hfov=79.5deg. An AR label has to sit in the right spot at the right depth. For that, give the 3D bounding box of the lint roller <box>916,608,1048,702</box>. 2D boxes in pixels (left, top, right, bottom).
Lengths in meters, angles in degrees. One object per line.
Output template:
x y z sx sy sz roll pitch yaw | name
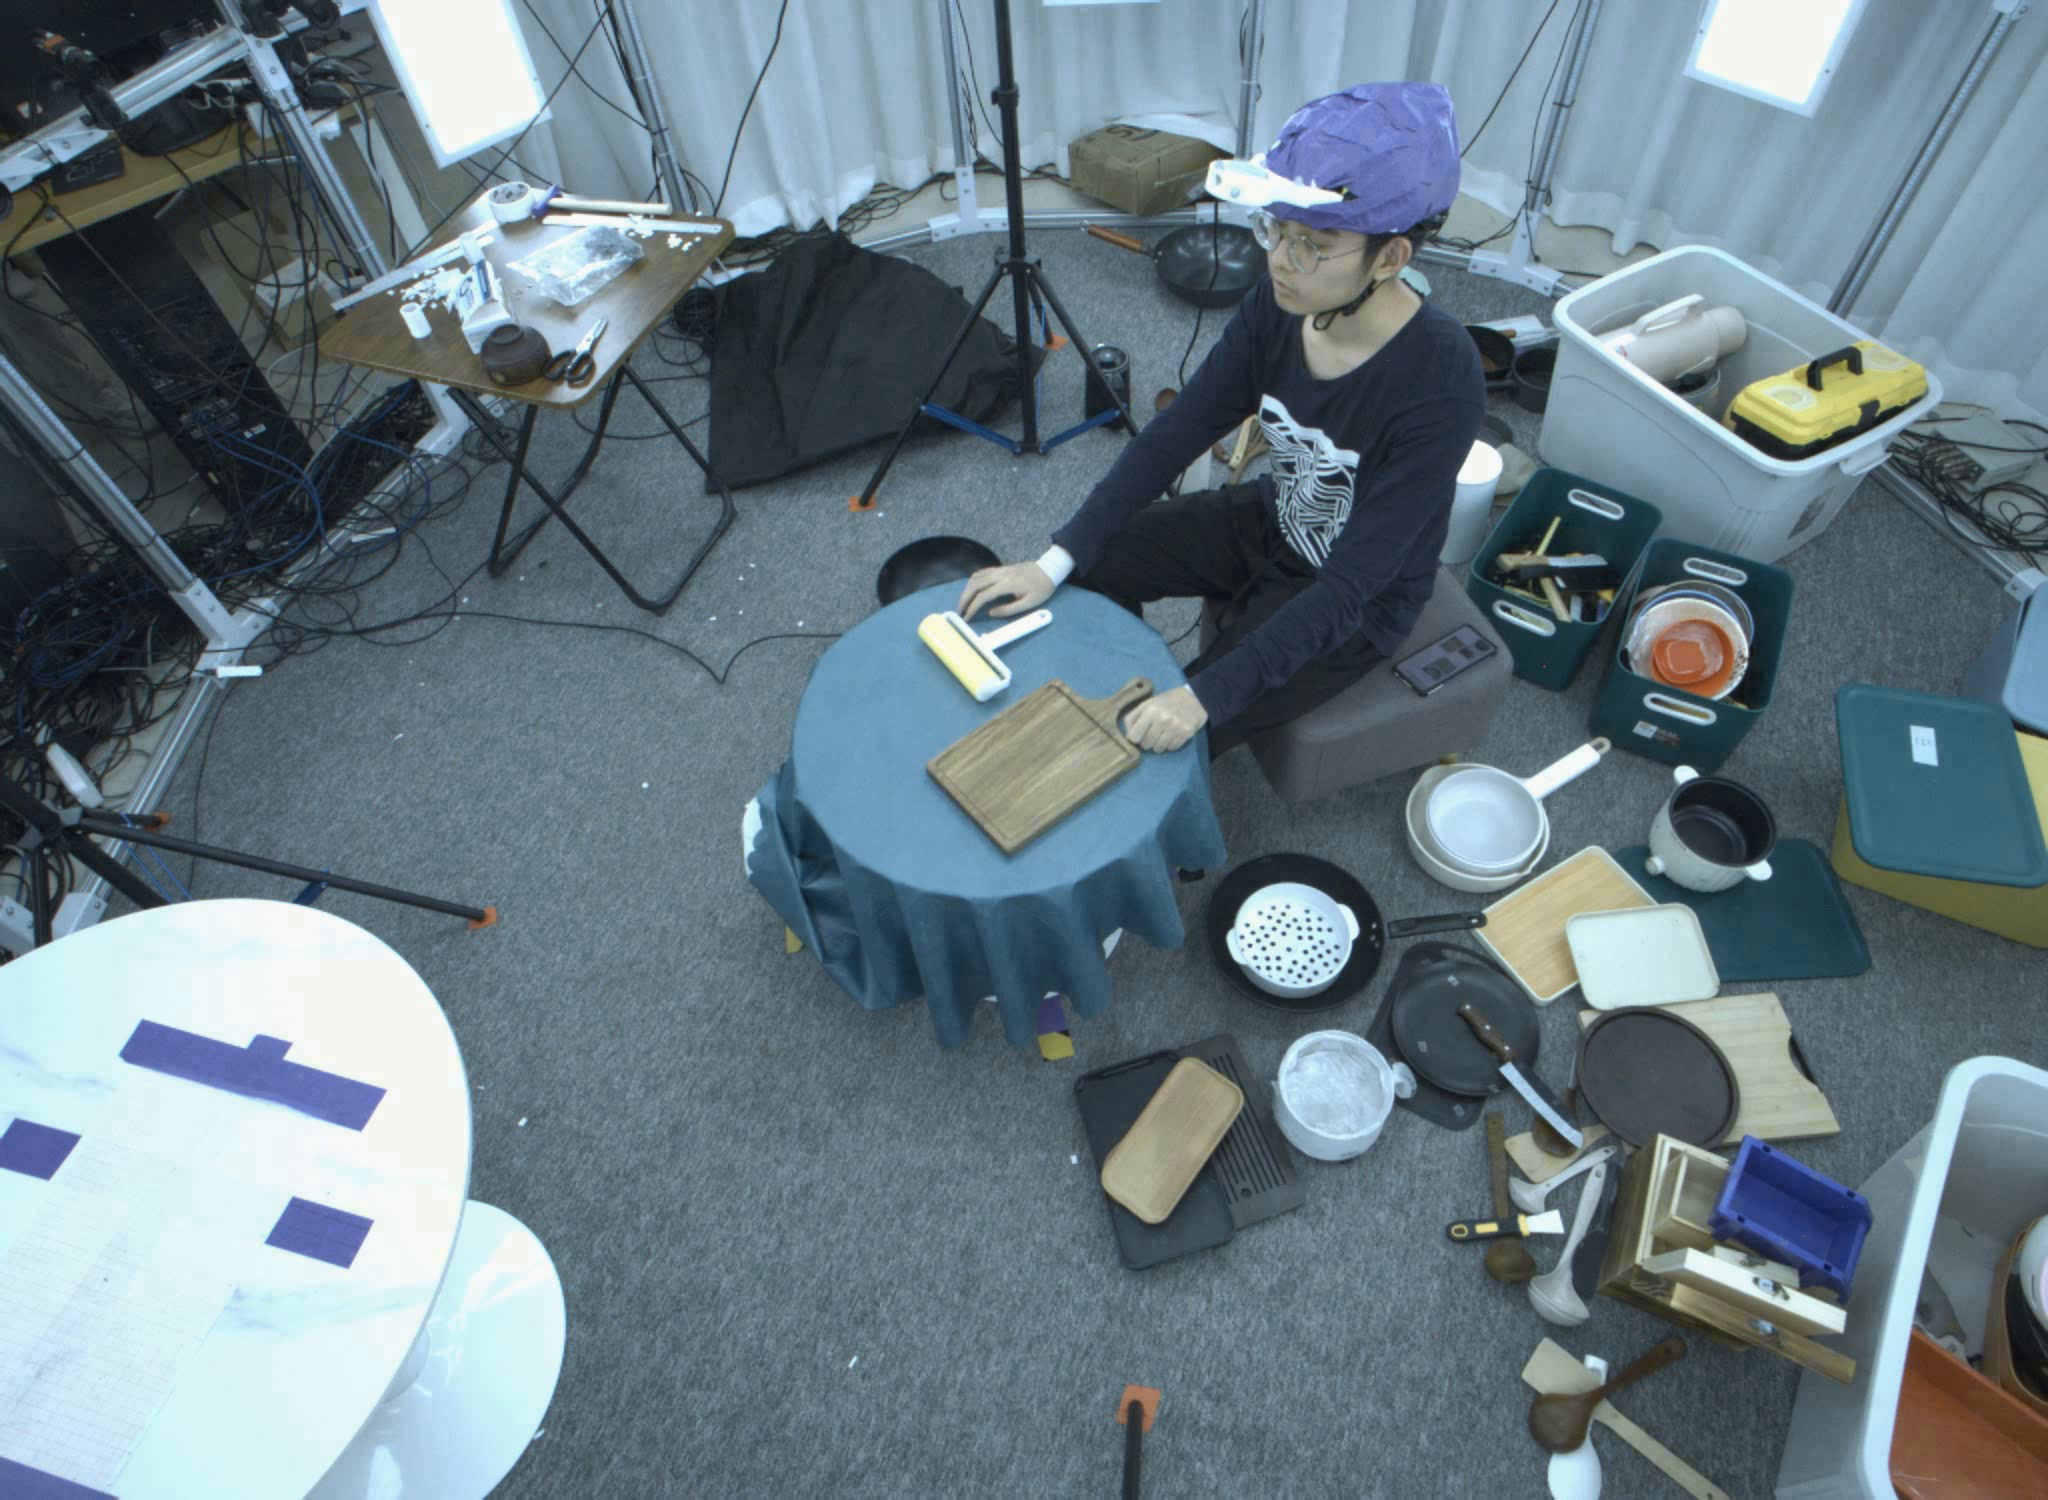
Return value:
-0.044 -0.179 1.894 0.193 0.052 0.171 -34 61 -17 | lint roller

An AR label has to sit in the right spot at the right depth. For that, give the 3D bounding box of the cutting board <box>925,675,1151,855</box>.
0.051 -0.008 1.787 0.355 0.023 0.197 -35 61 -22 | cutting board
